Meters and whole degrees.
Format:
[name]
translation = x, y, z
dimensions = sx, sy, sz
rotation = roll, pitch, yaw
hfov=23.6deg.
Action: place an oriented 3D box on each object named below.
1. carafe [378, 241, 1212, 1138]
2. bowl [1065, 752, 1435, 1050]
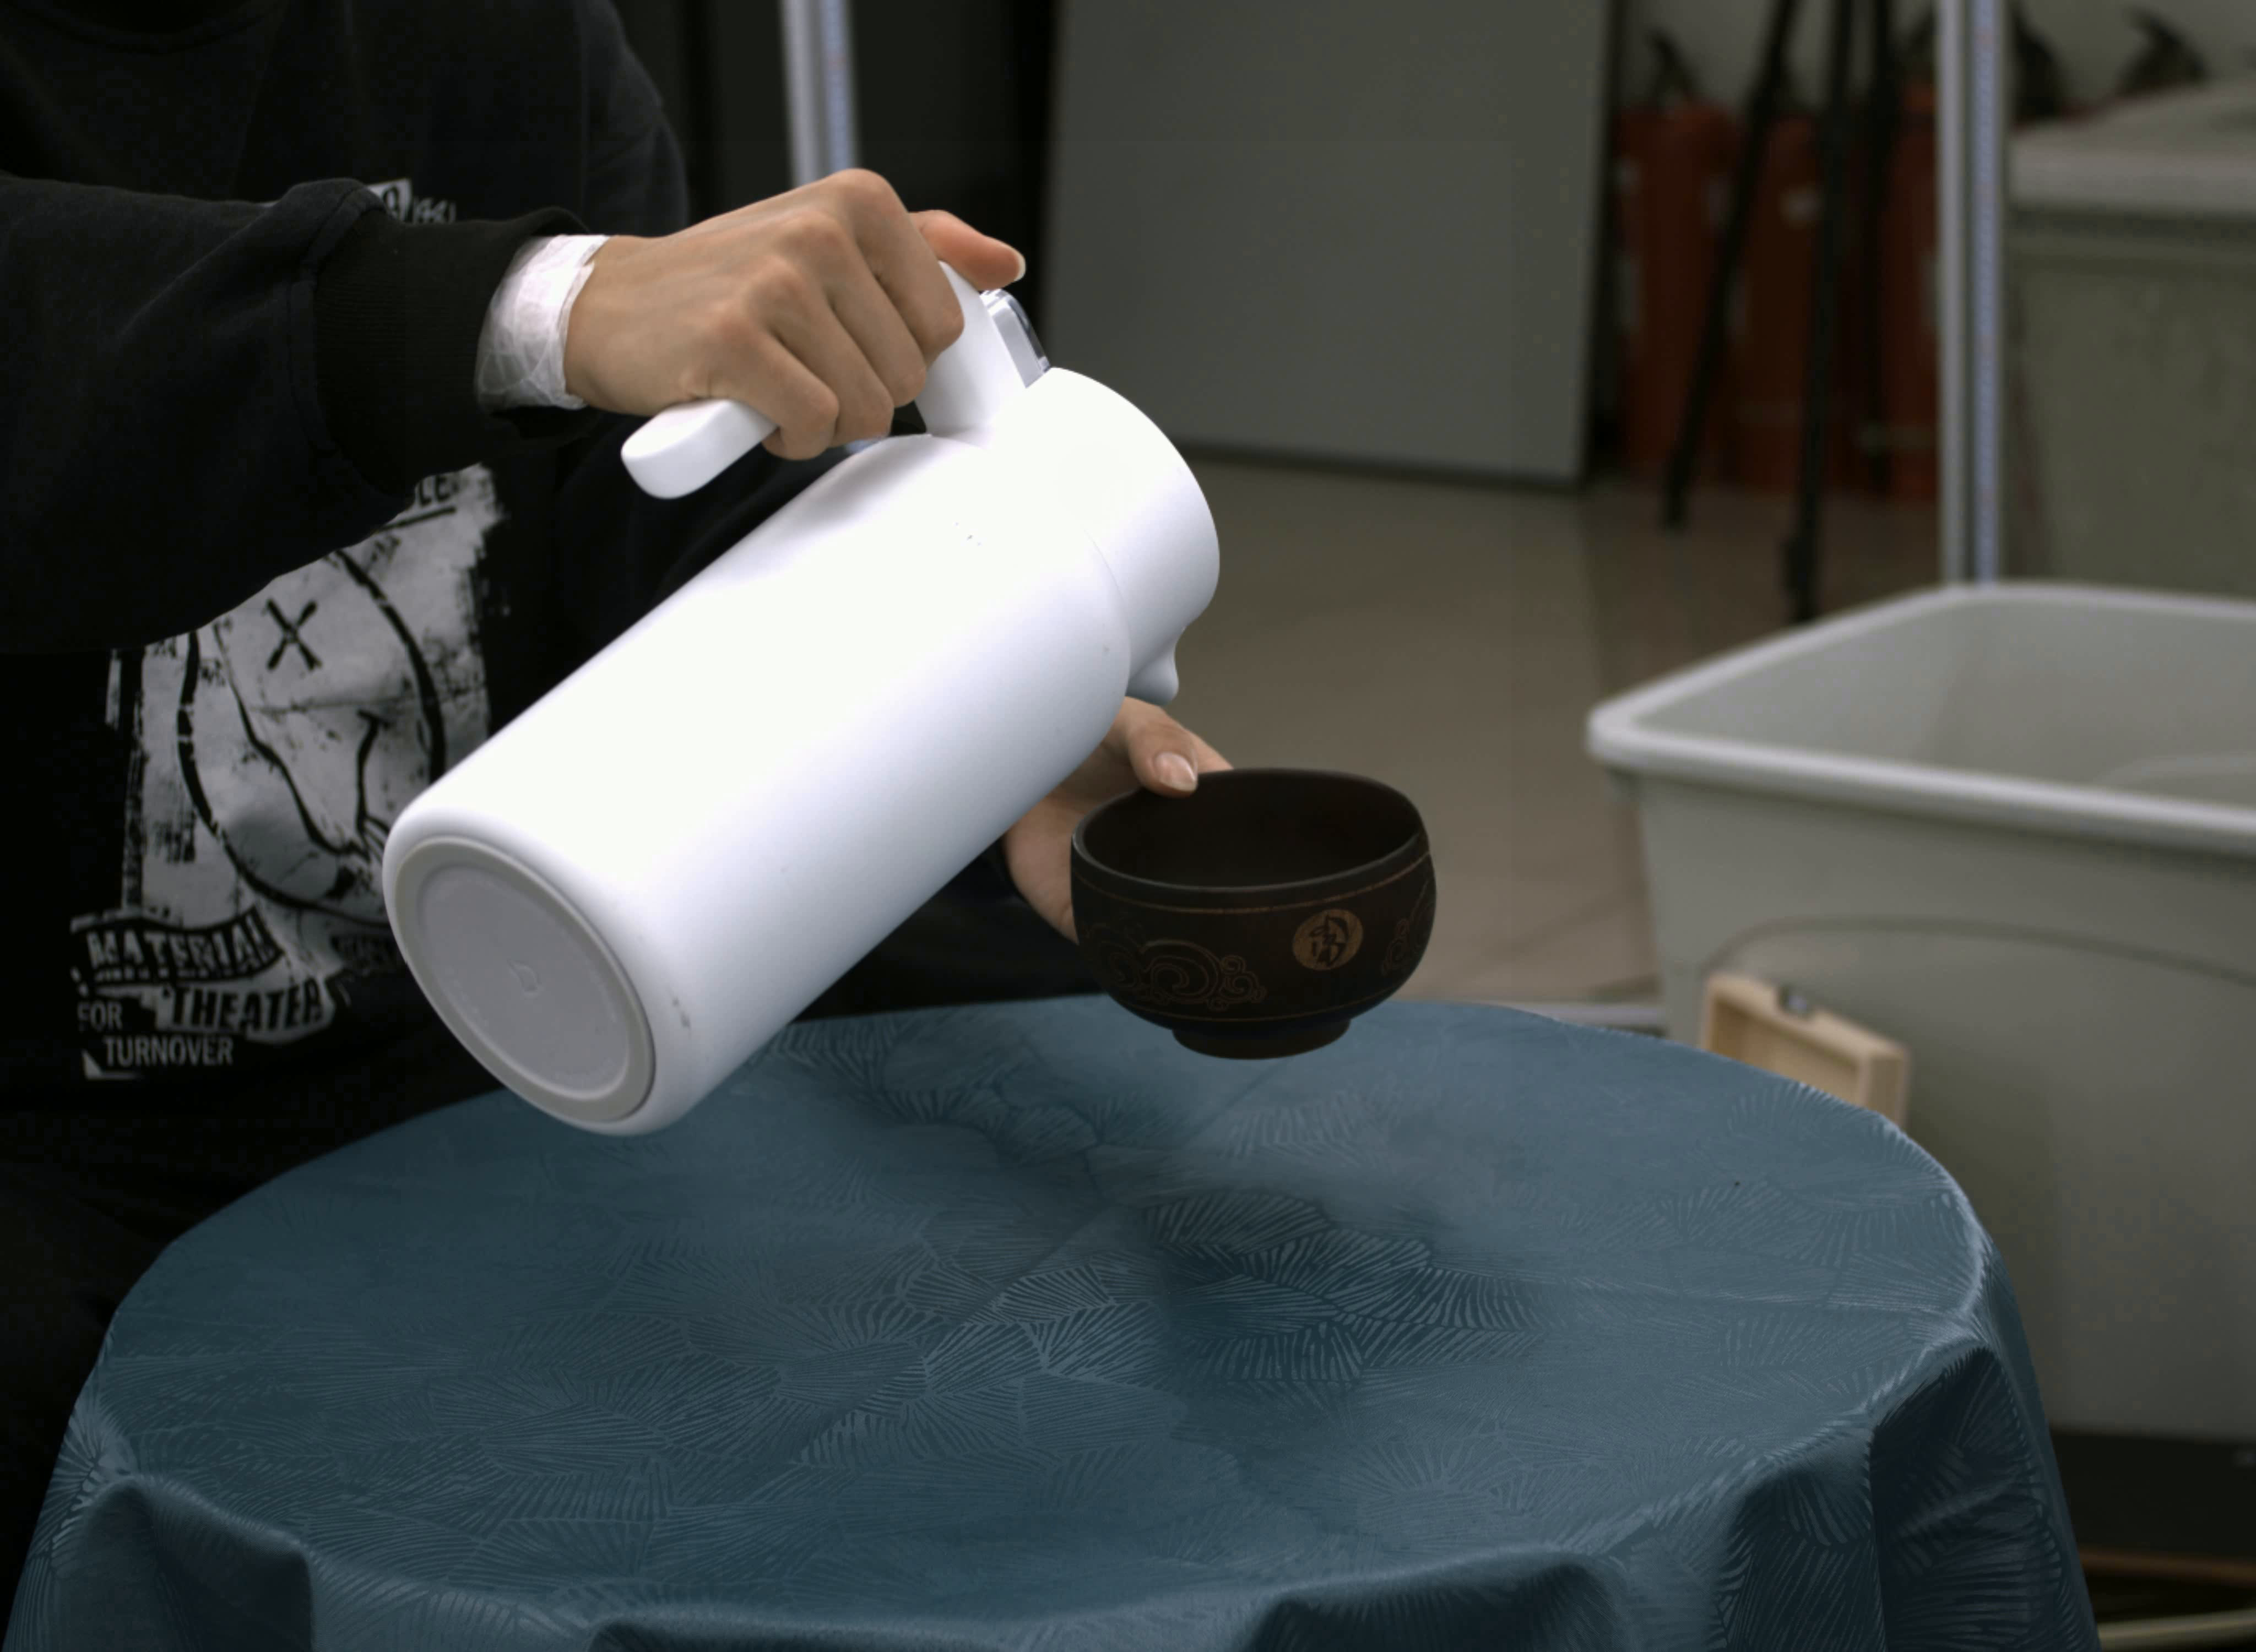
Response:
[carafe]
translation = -0.097, -0.045, 1.572
dimensions = 0.125, 0.173, 0.266
rotation = 1, 35, 49
[bowl]
translation = 0.040, 0.028, 1.699
dimensions = 0.116, 0.070, 0.118
rotation = -5, 19, 1
